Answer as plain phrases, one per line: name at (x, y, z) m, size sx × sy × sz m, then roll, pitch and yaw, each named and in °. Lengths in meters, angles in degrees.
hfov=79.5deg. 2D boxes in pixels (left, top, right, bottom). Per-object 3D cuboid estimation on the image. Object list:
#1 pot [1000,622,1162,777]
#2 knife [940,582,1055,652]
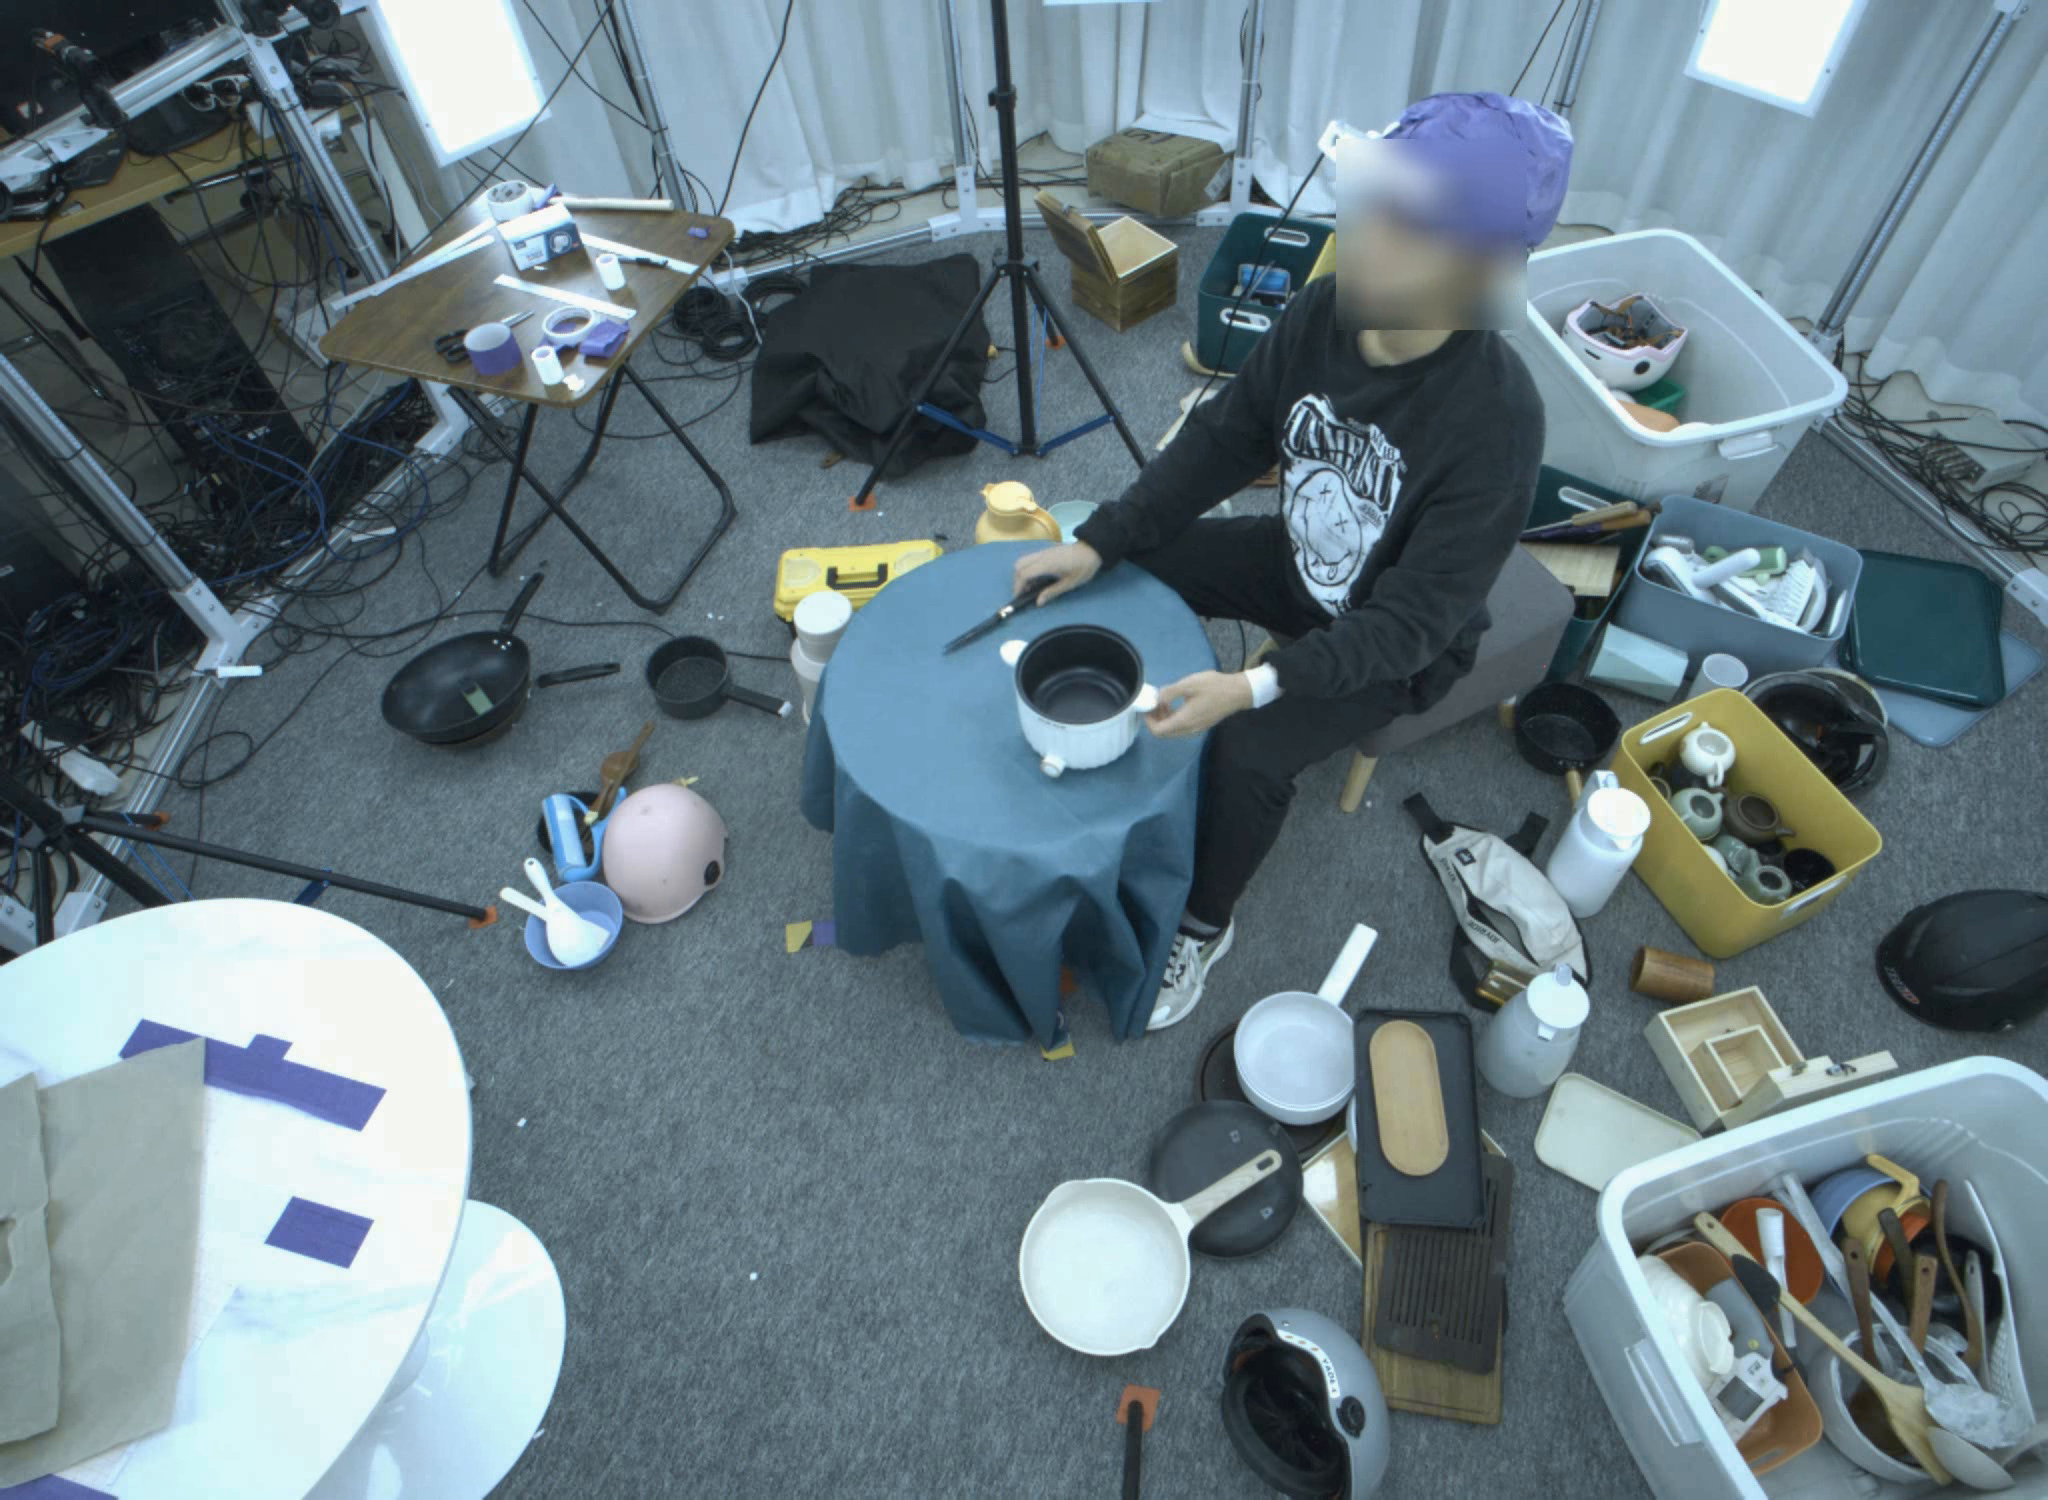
pot at (0.079, -0.065, 1.741) m, size 0.237 × 0.144 × 0.191 m, roll 19°, pitch 54°, yaw 17°
knife at (-0.042, -0.209, 1.923) m, size 0.227 × 0.017 × 0.025 m, roll -32°, pitch 41°, yaw -21°
